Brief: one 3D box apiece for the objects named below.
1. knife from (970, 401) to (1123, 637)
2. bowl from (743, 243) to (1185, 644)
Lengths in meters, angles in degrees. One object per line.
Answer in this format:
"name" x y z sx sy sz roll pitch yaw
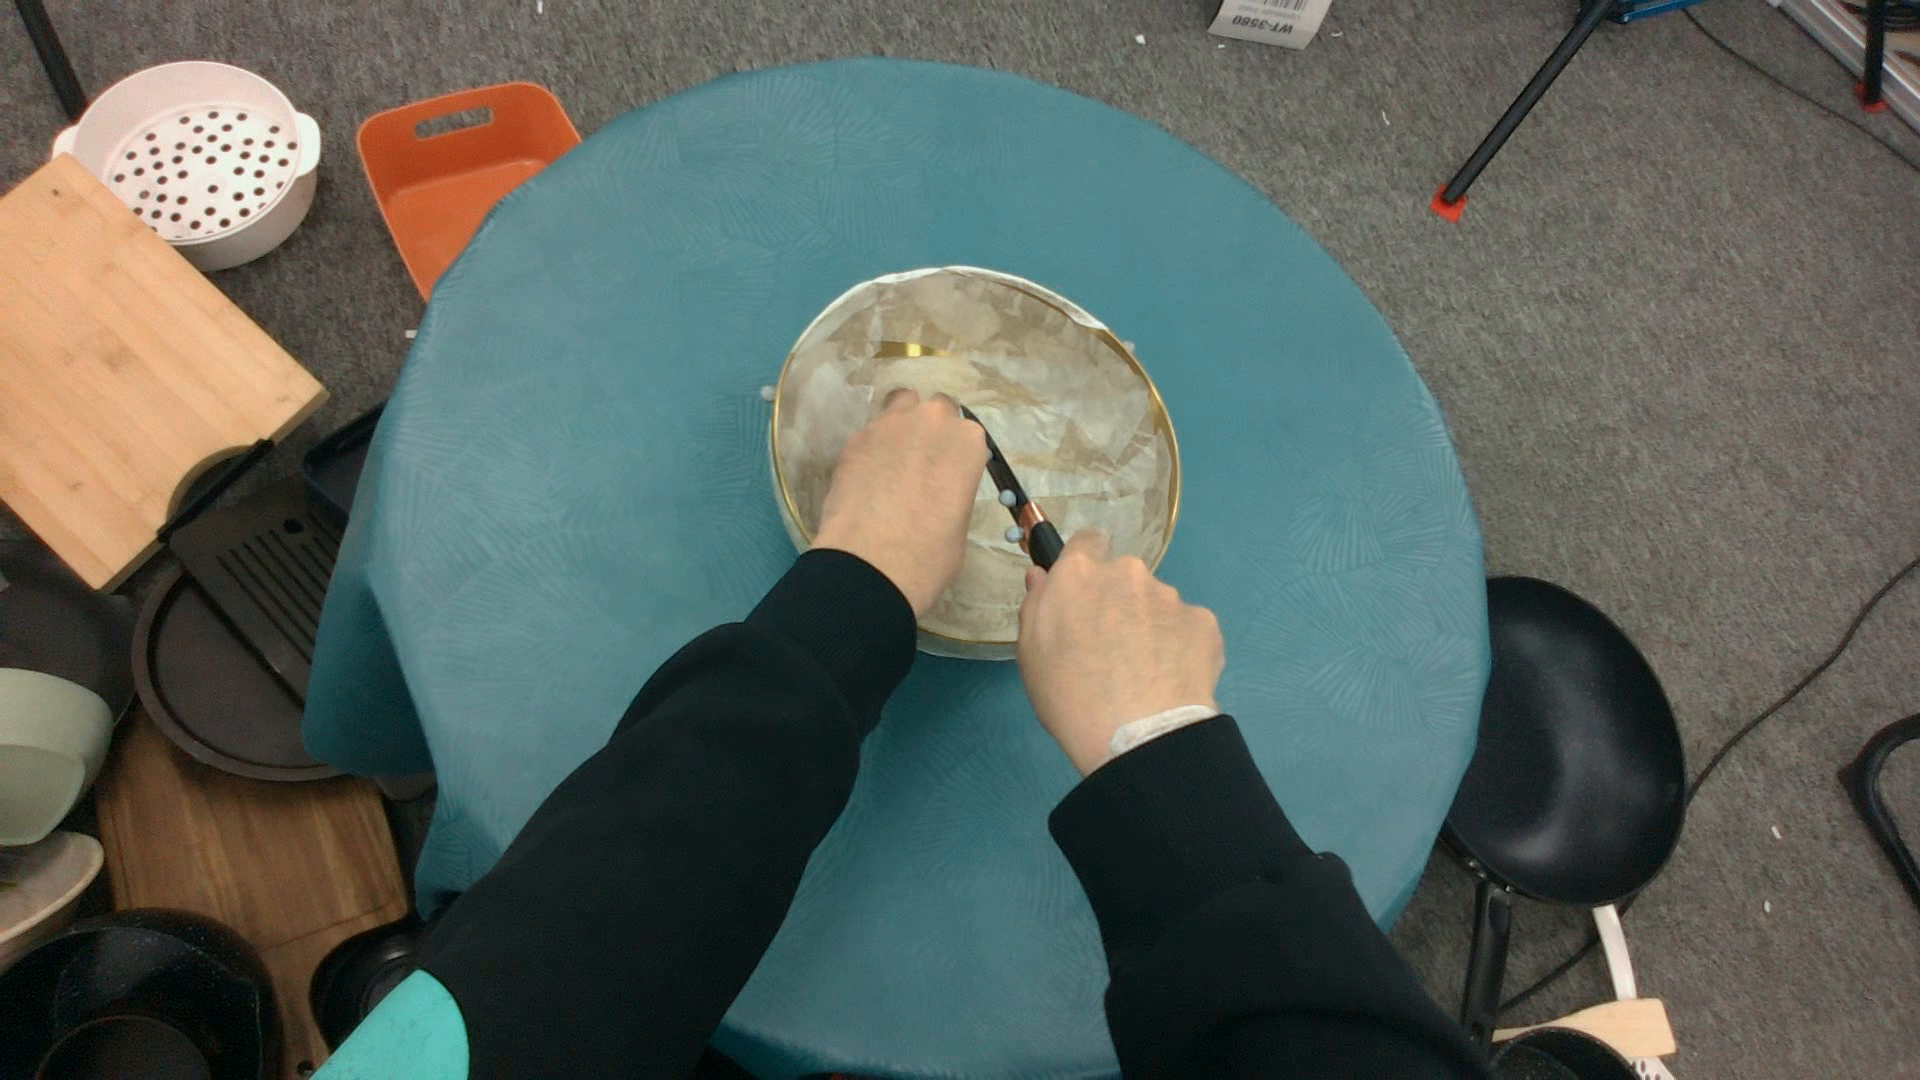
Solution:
"knife" 0.032 -0.021 0.650 0.017 0.026 0.226 -35 34 6
"bowl" -0.002 -0.034 0.681 0.215 0.094 0.215 6 65 -13
